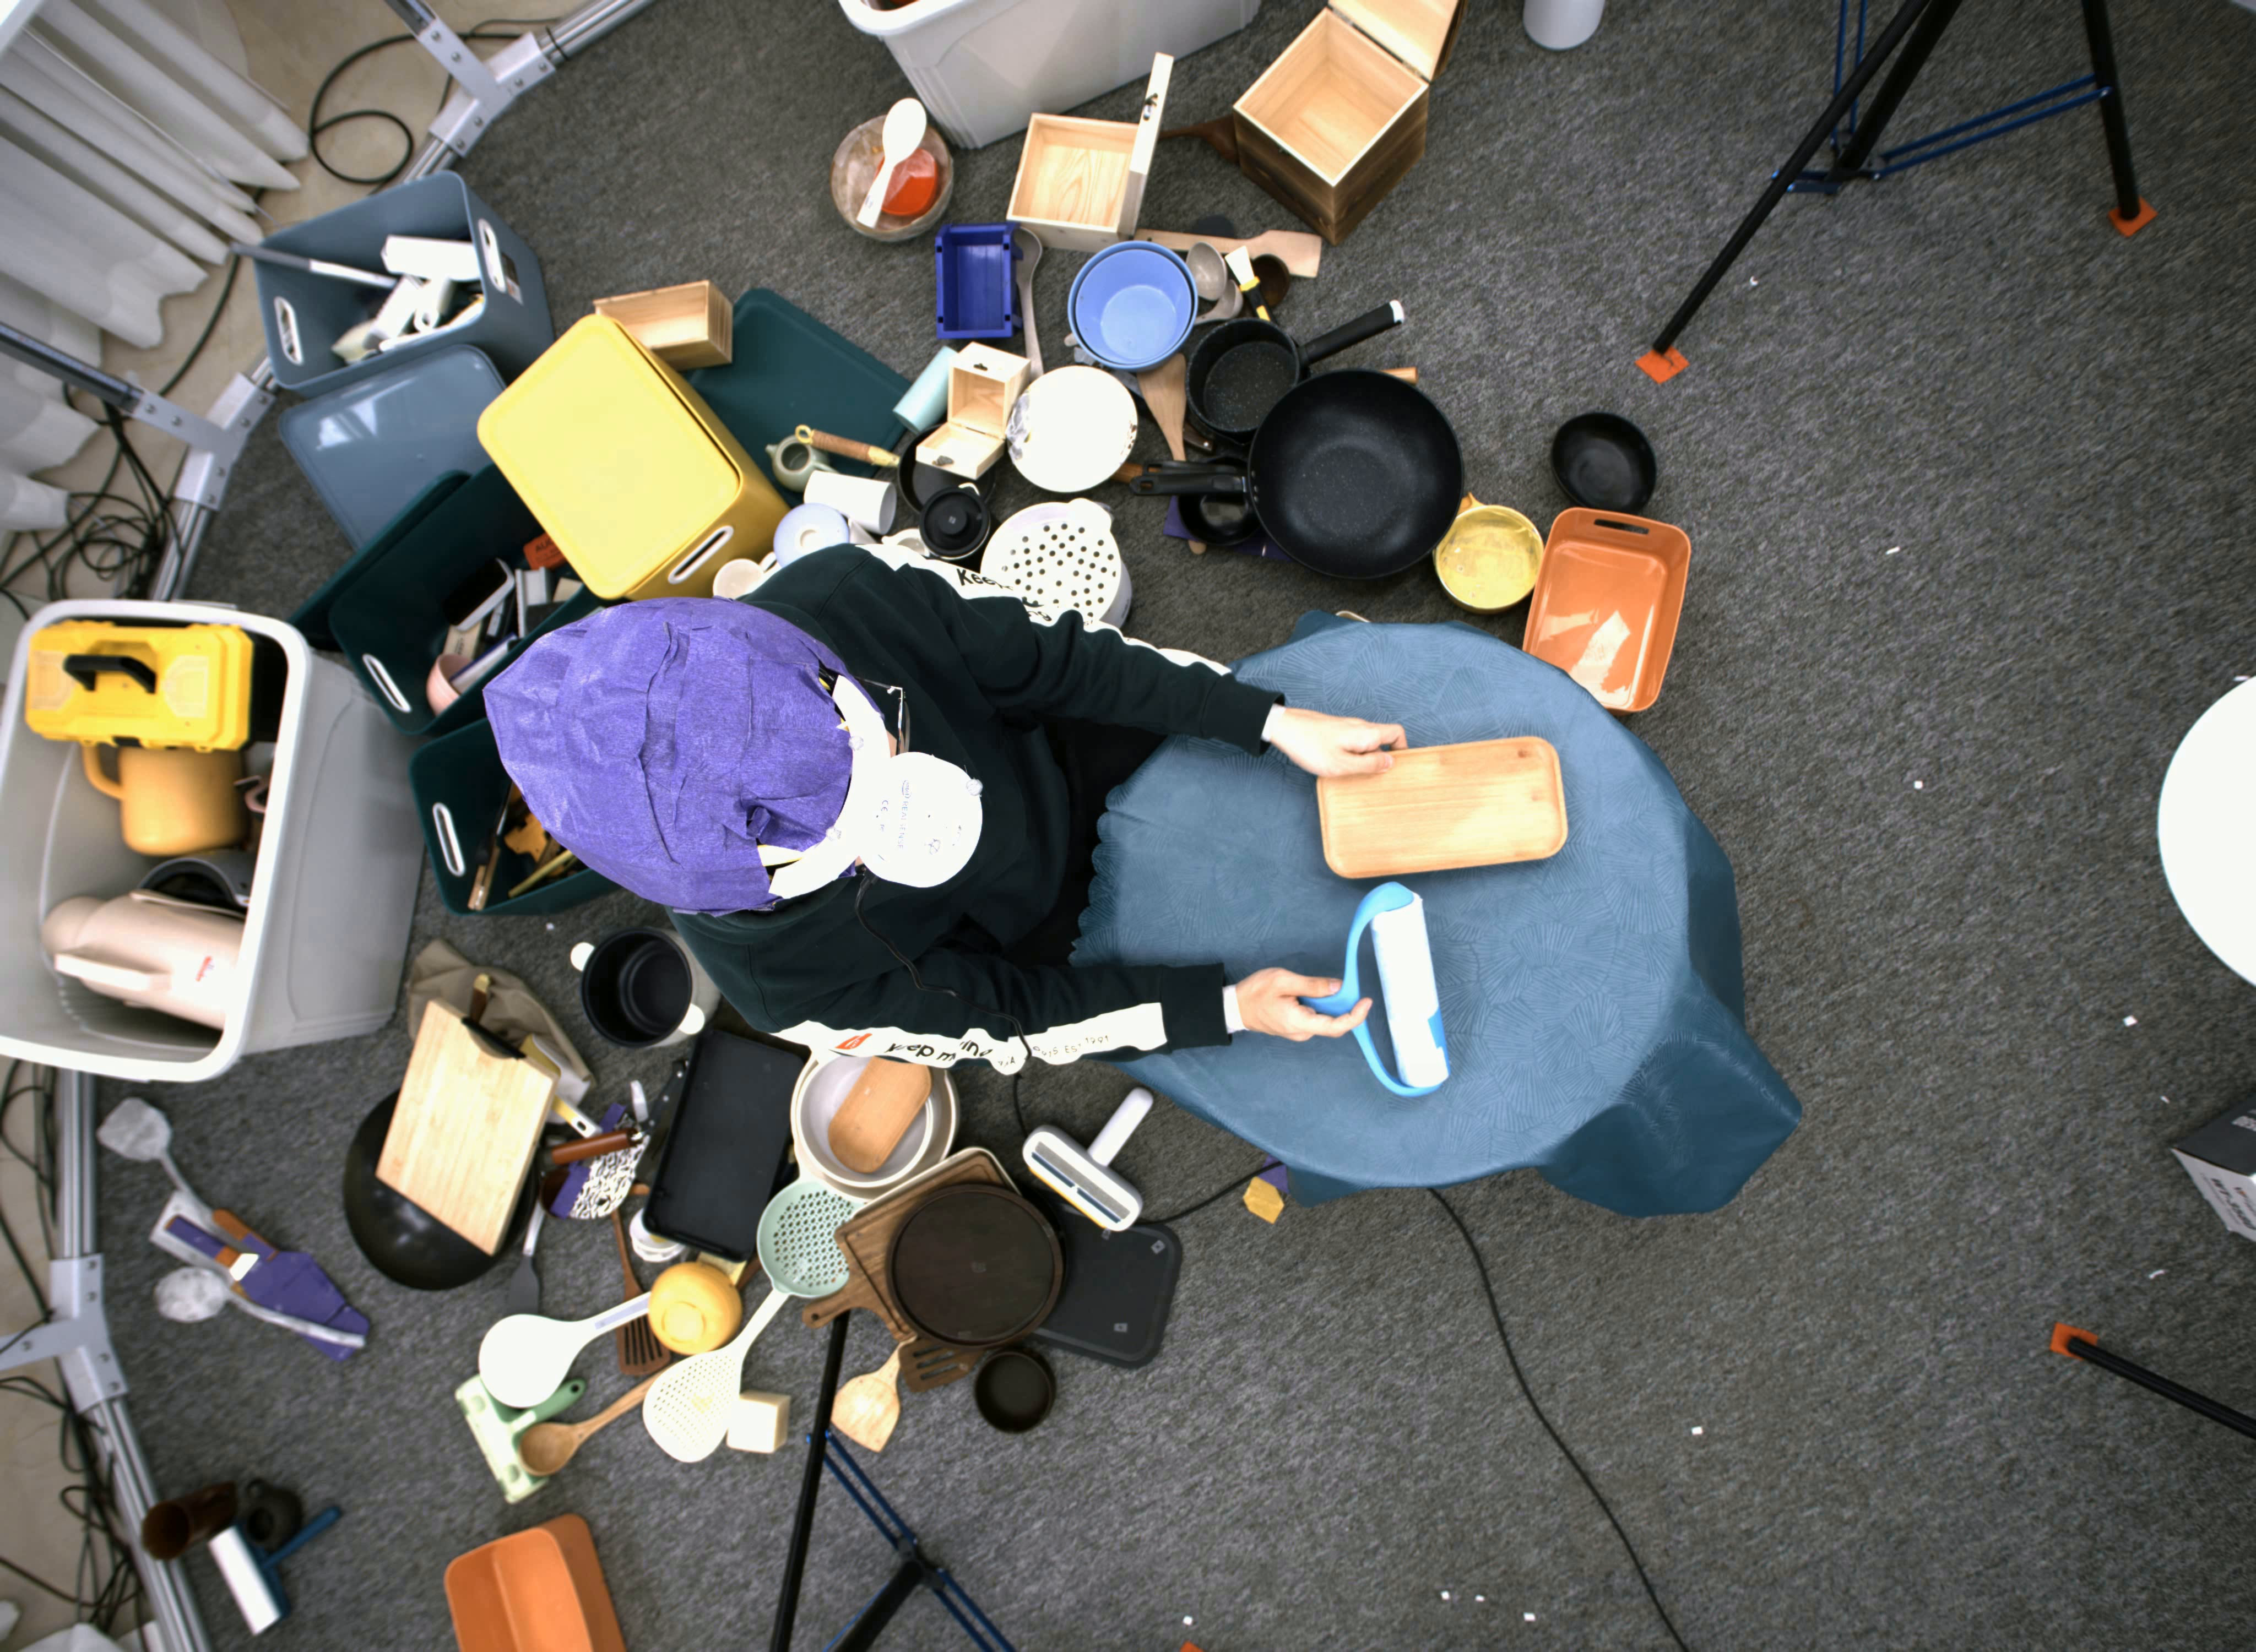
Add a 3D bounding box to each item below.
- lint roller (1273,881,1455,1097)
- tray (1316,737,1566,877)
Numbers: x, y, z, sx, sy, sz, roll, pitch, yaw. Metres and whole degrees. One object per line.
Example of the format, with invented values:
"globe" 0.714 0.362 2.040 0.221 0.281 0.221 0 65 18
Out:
"lint roller" 0.227 0.171 1.393 0.182 0.066 0.232 -9 110 23
"tray" 0.320 -0.021 1.408 0.251 0.023 0.130 -5 86 1
